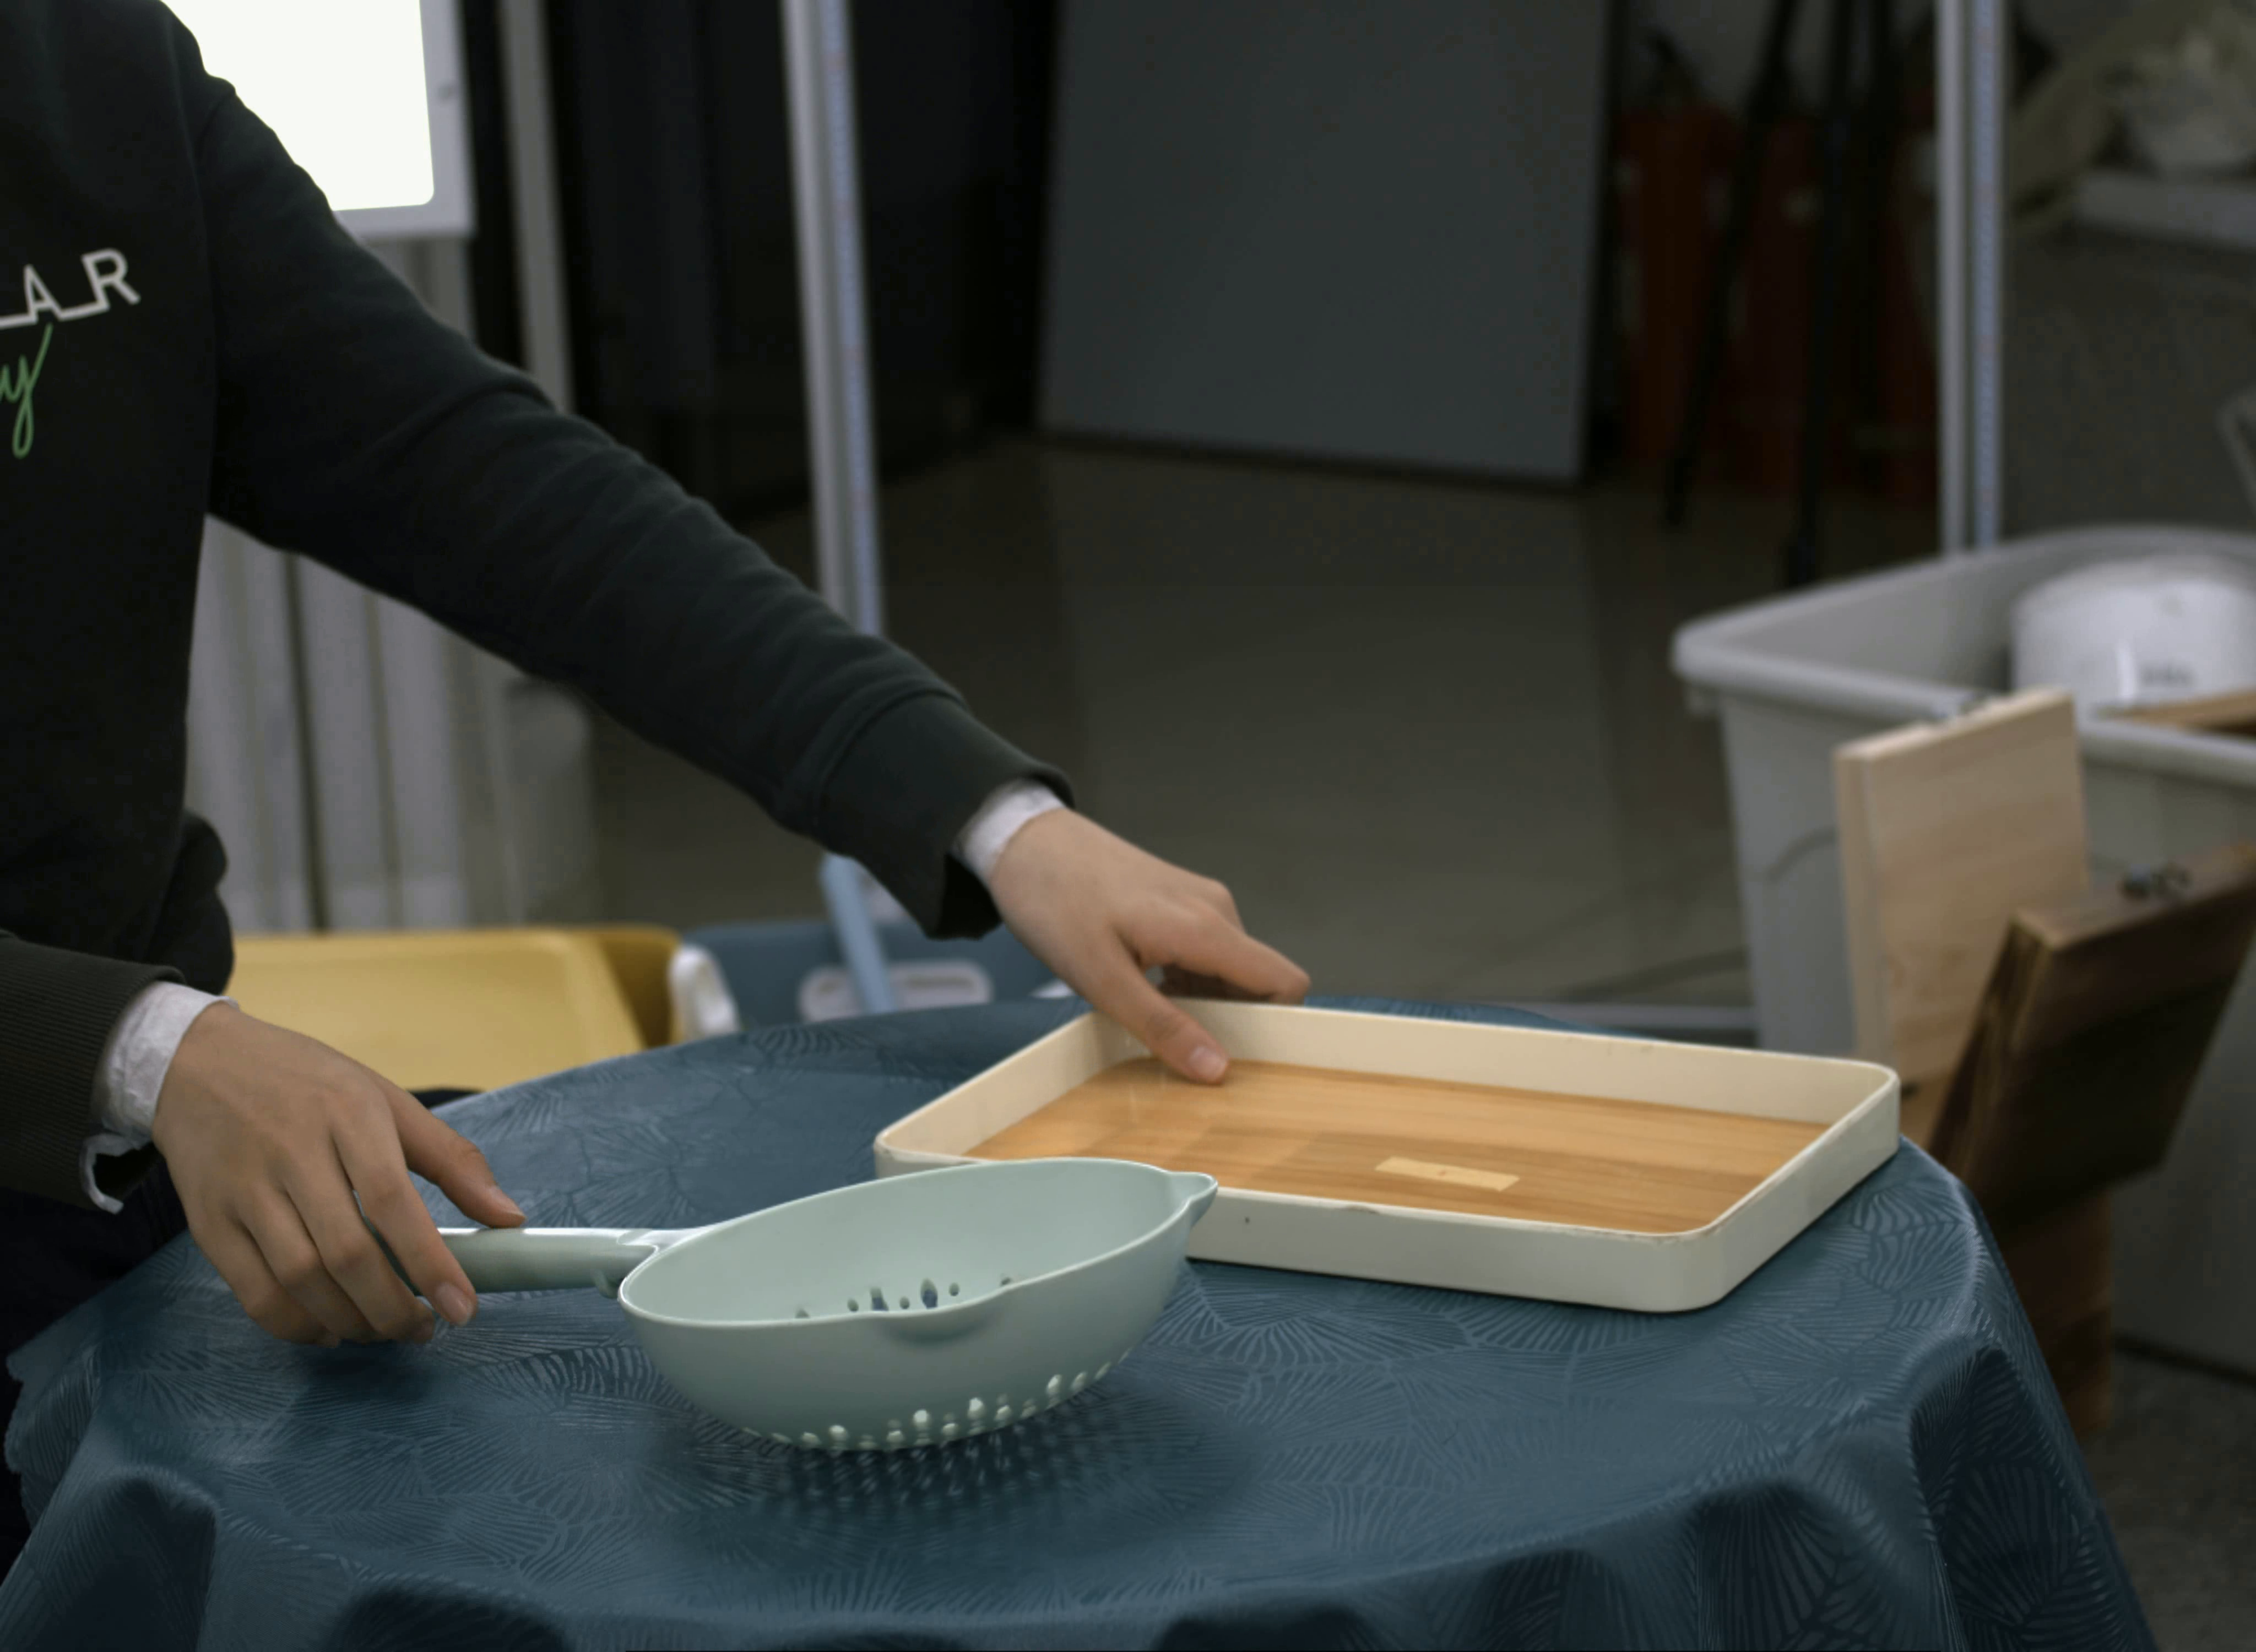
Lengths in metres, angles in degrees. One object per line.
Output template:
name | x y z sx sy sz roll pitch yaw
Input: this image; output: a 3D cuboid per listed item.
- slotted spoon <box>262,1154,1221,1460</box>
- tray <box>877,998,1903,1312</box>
slotted spoon | -0.136 0.135 1.620 0.361 0.076 0.166 7 17 38
tray | 0.086 0.104 1.759 0.301 0.028 0.189 4 16 30
